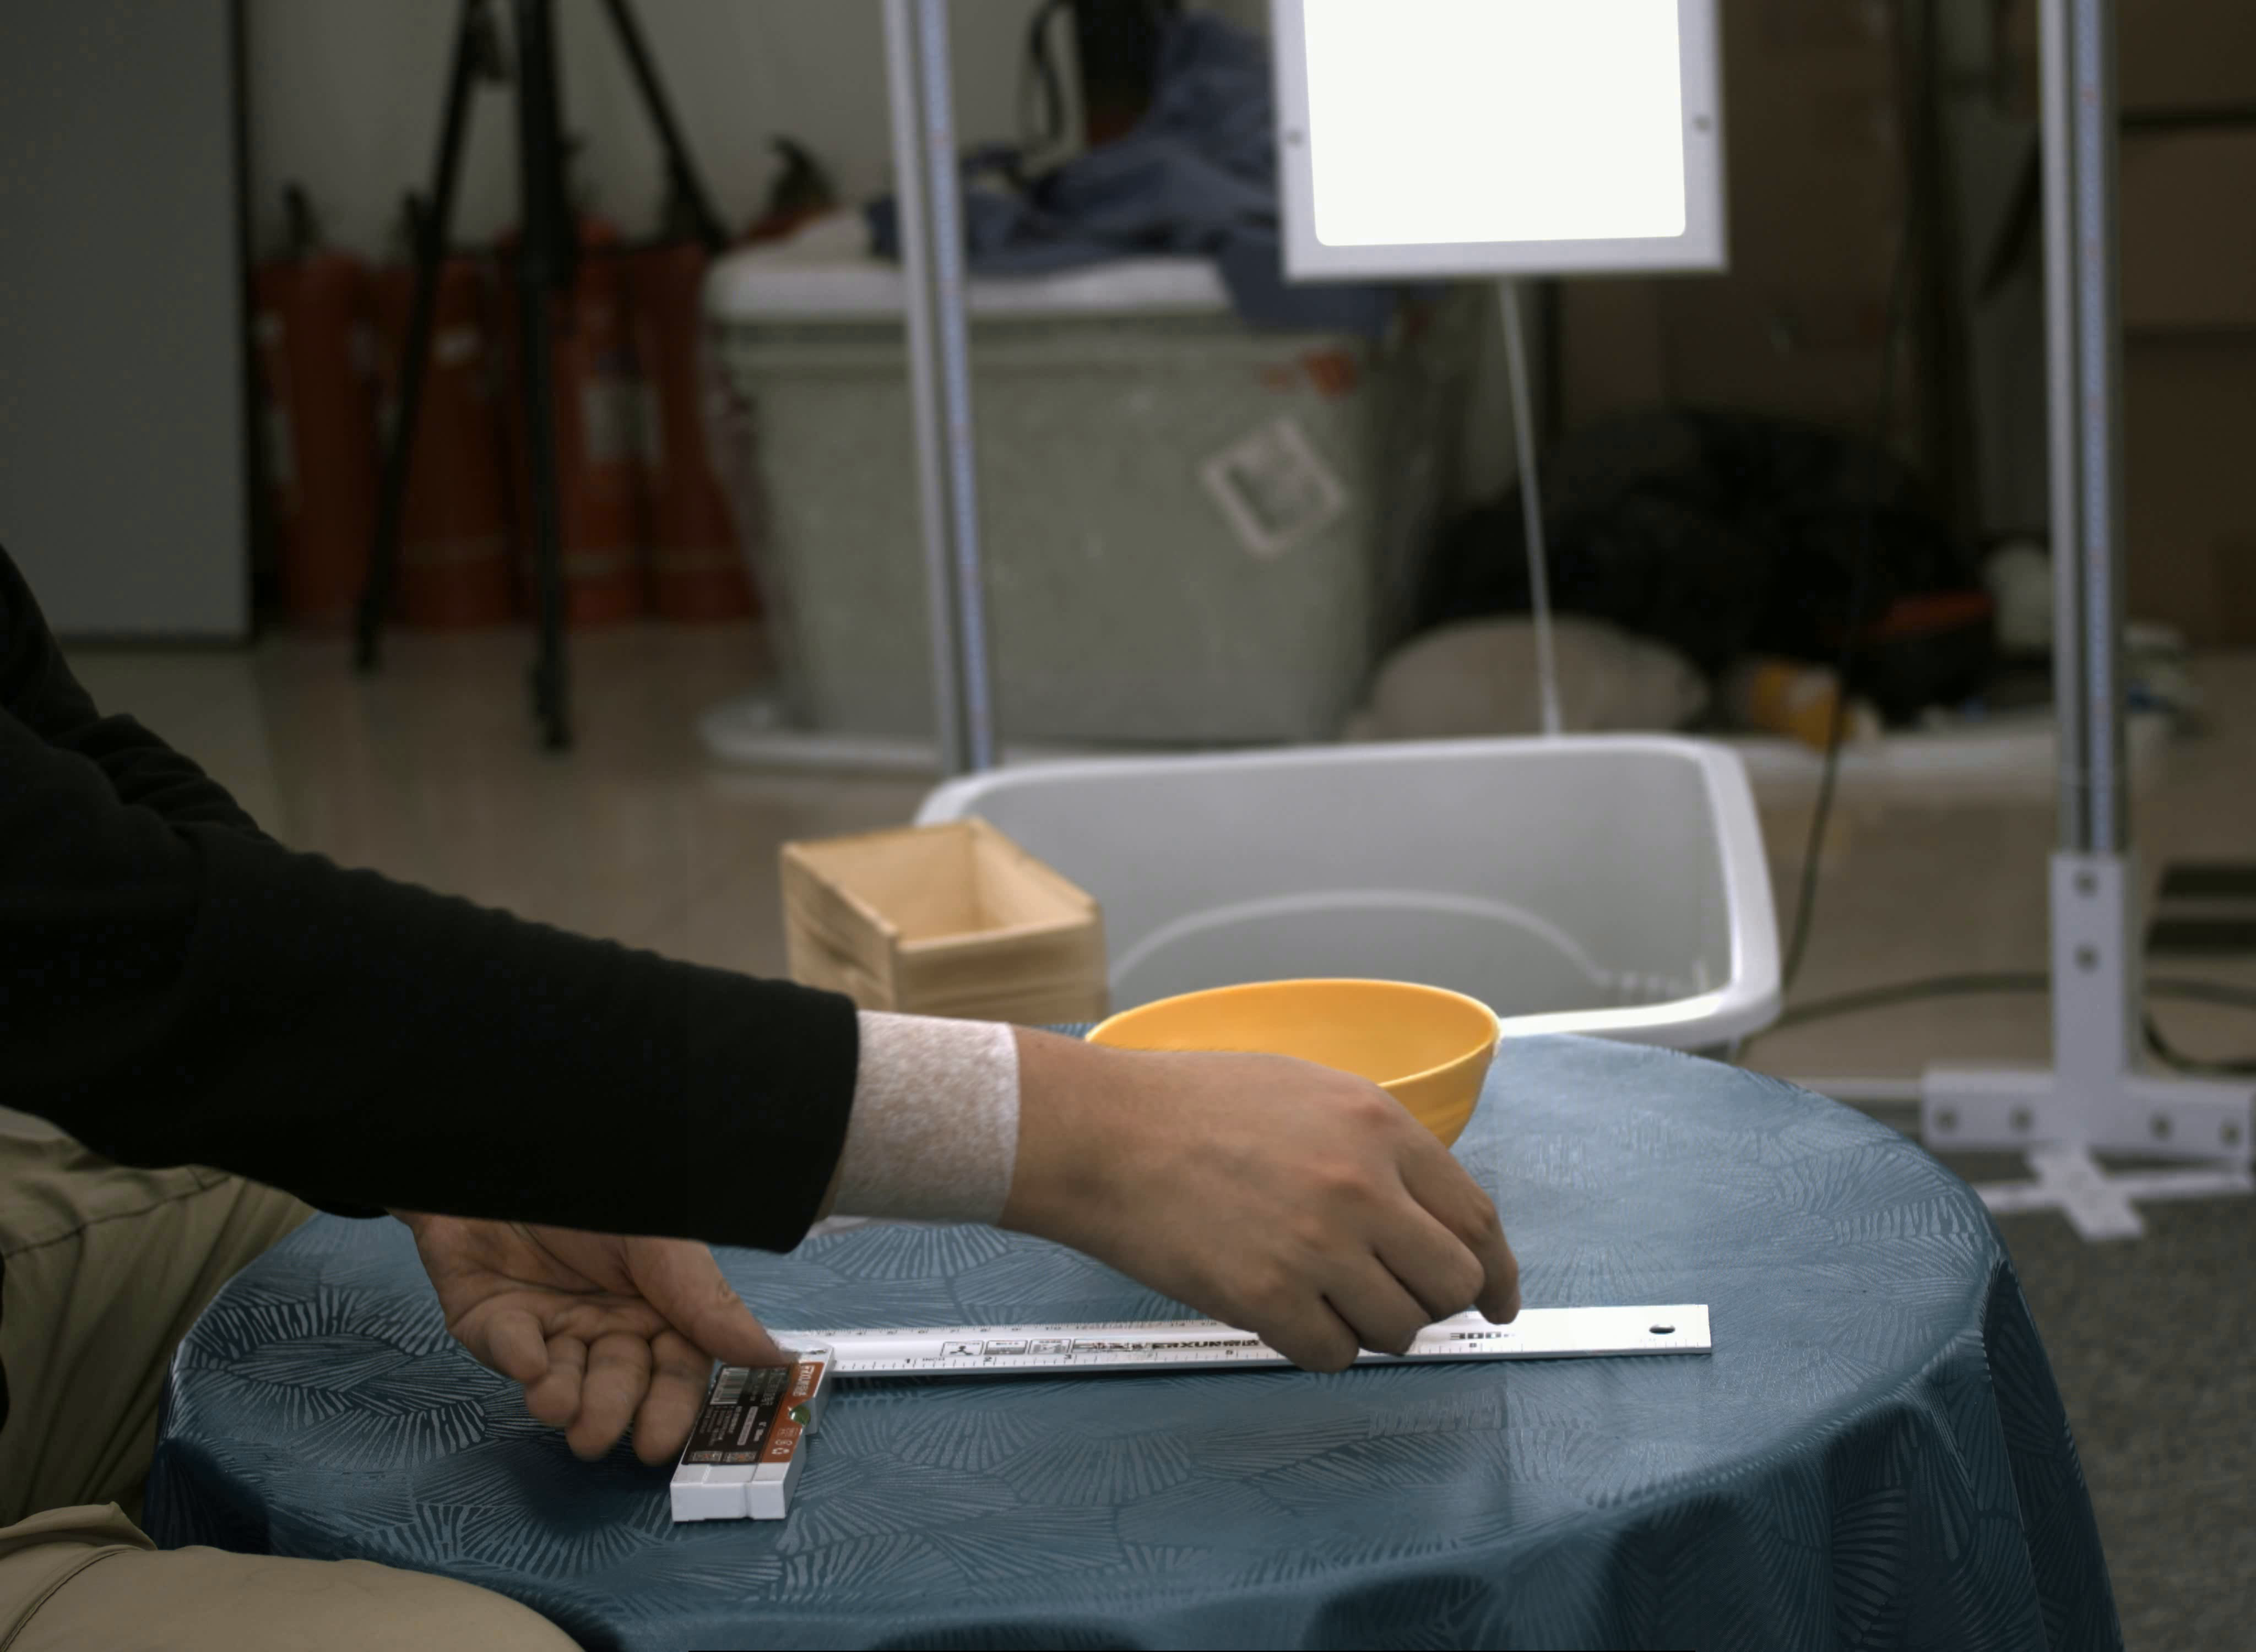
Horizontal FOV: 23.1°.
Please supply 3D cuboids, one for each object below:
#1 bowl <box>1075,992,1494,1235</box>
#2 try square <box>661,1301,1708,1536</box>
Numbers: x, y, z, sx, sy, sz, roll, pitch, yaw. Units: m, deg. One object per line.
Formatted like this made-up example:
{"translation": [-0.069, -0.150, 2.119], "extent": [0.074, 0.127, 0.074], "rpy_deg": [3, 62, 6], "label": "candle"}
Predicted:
{"translation": [0.056, 0.101, 1.865], "extent": [0.145, 0.060, 0.145], "rpy_deg": [-7, 12, 0], "label": "bowl"}
{"translation": [0.022, 0.177, 1.676], "extent": [0.314, 0.016, 0.151], "rpy_deg": [-2, 16, 7], "label": "try square"}
